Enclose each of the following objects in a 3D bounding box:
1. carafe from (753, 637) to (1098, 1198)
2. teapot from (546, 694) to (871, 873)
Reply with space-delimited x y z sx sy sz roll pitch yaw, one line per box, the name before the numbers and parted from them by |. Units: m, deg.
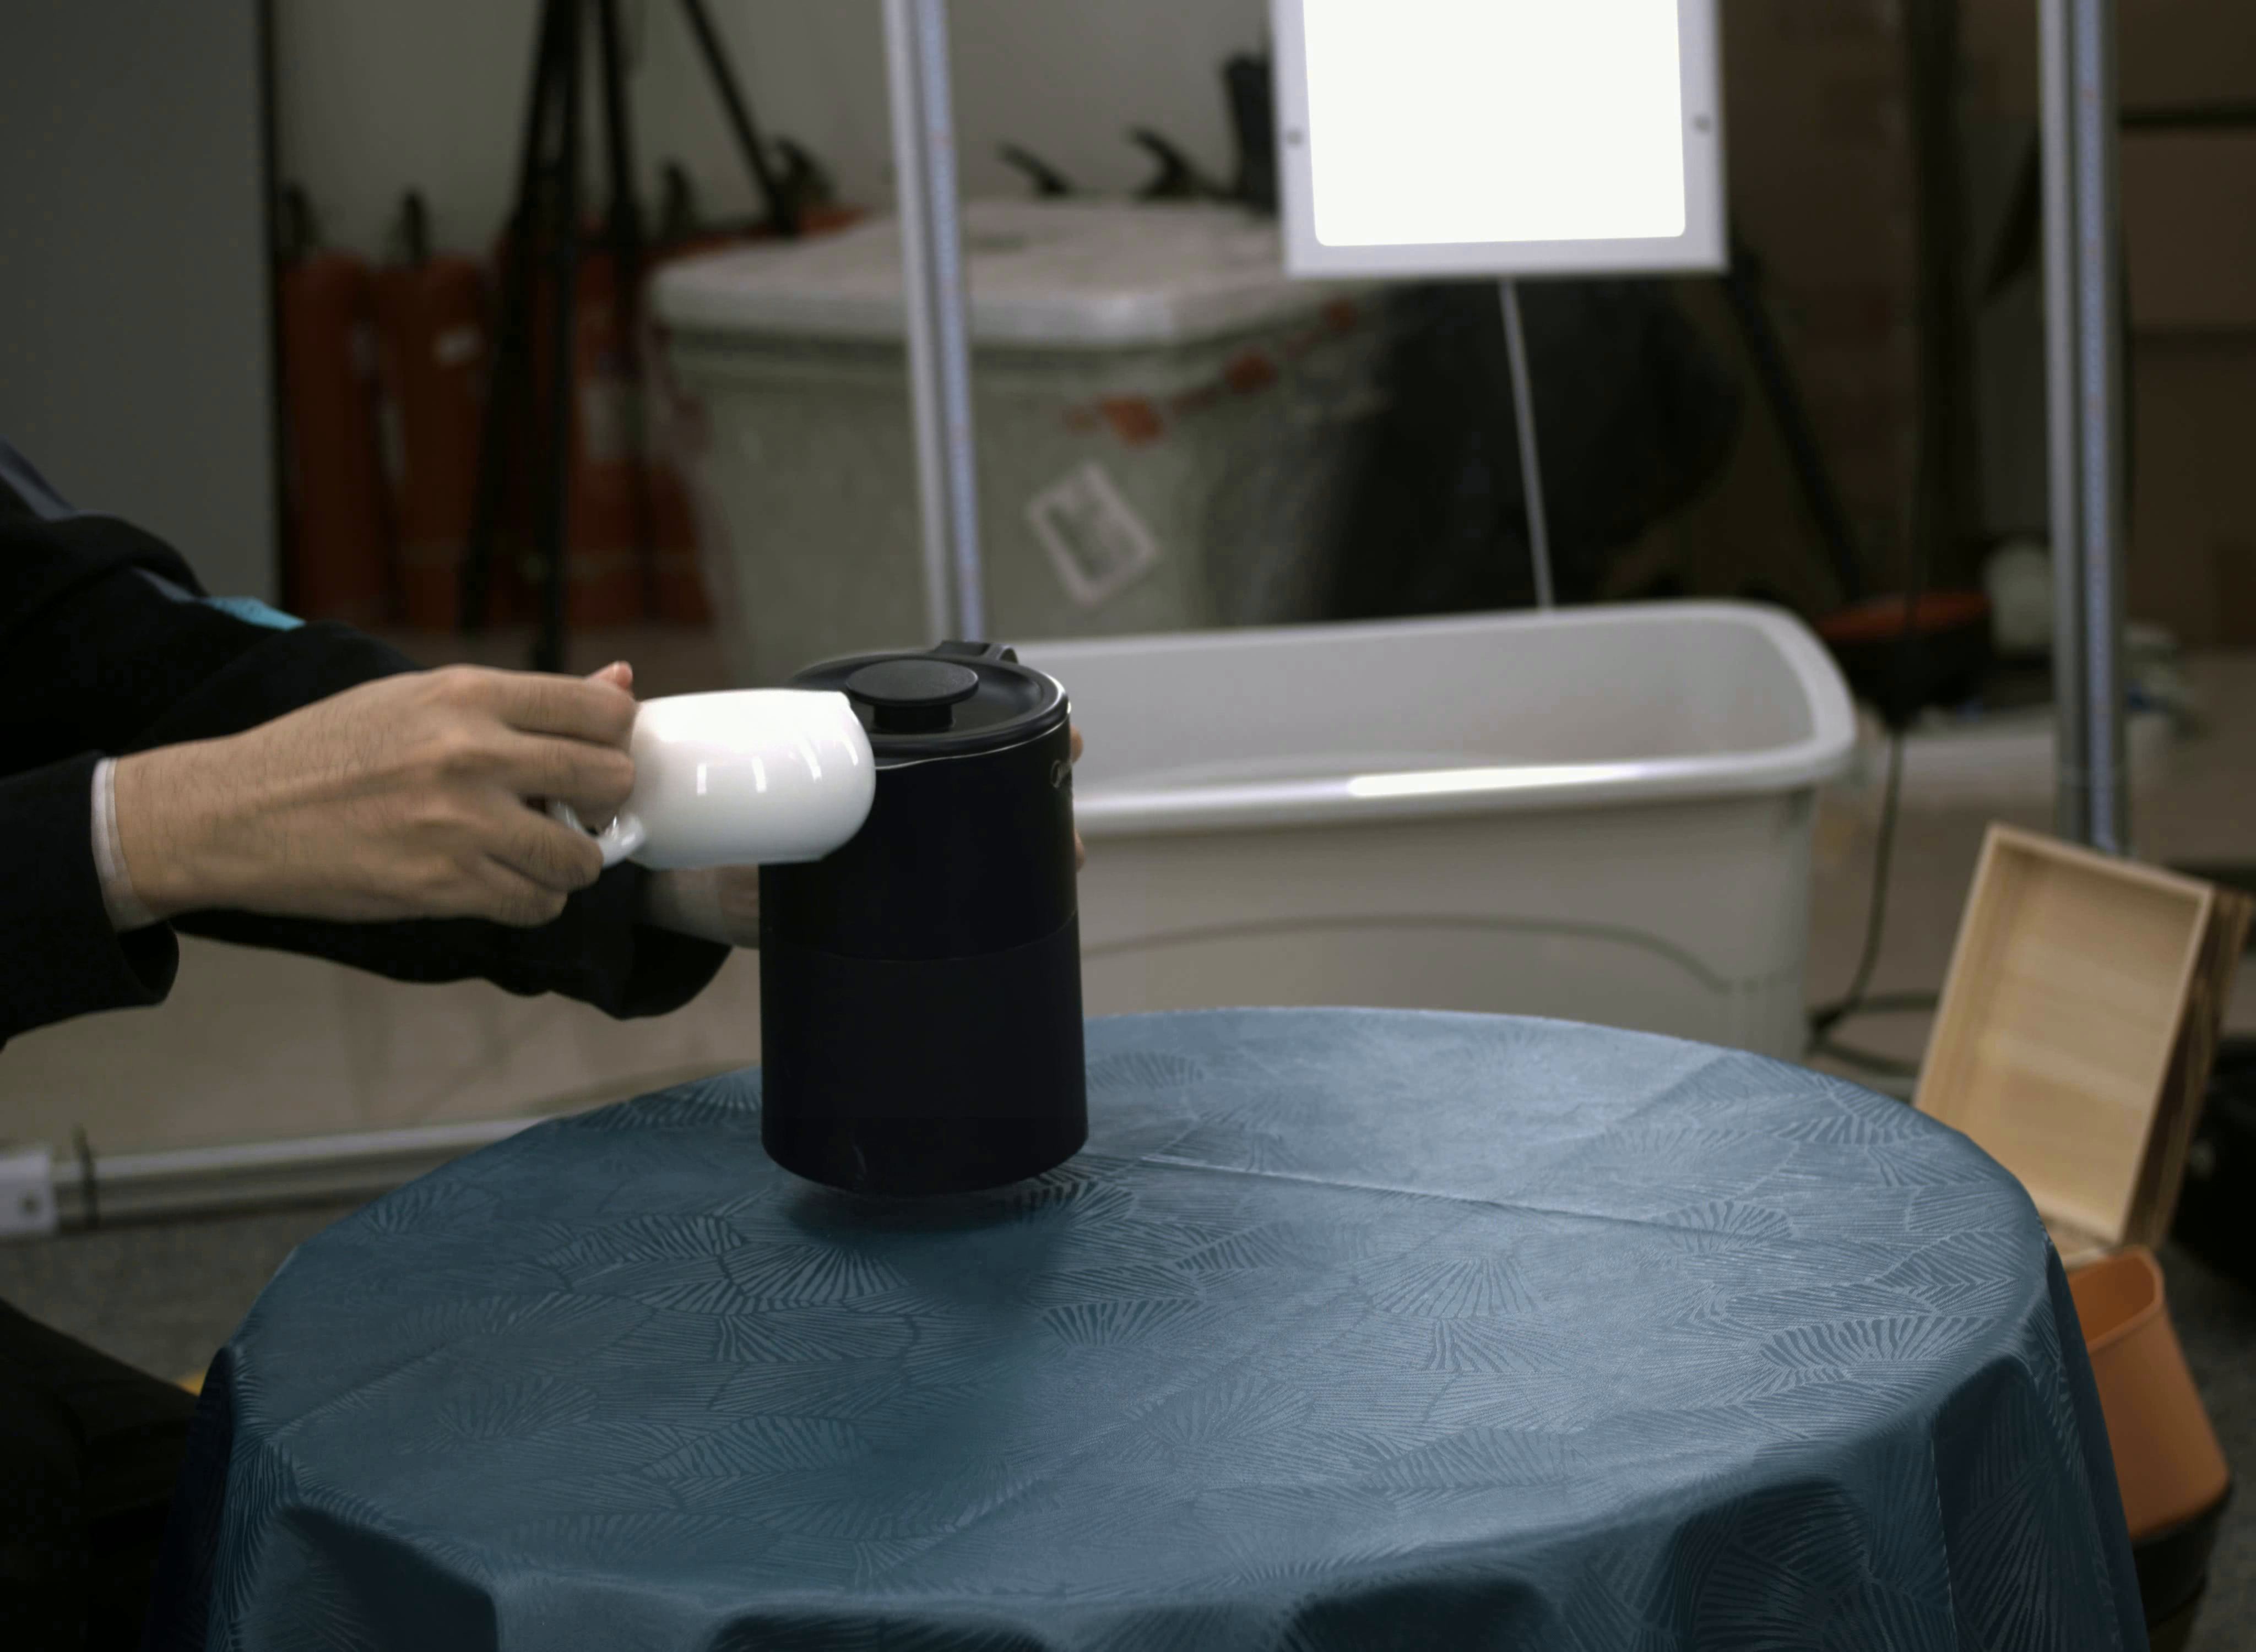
carafe | -0.068 0.021 1.907 0.115 0.174 0.169 0 21 11
teapot | -0.135 -0.013 1.741 0.095 0.057 0.124 1 4 39
